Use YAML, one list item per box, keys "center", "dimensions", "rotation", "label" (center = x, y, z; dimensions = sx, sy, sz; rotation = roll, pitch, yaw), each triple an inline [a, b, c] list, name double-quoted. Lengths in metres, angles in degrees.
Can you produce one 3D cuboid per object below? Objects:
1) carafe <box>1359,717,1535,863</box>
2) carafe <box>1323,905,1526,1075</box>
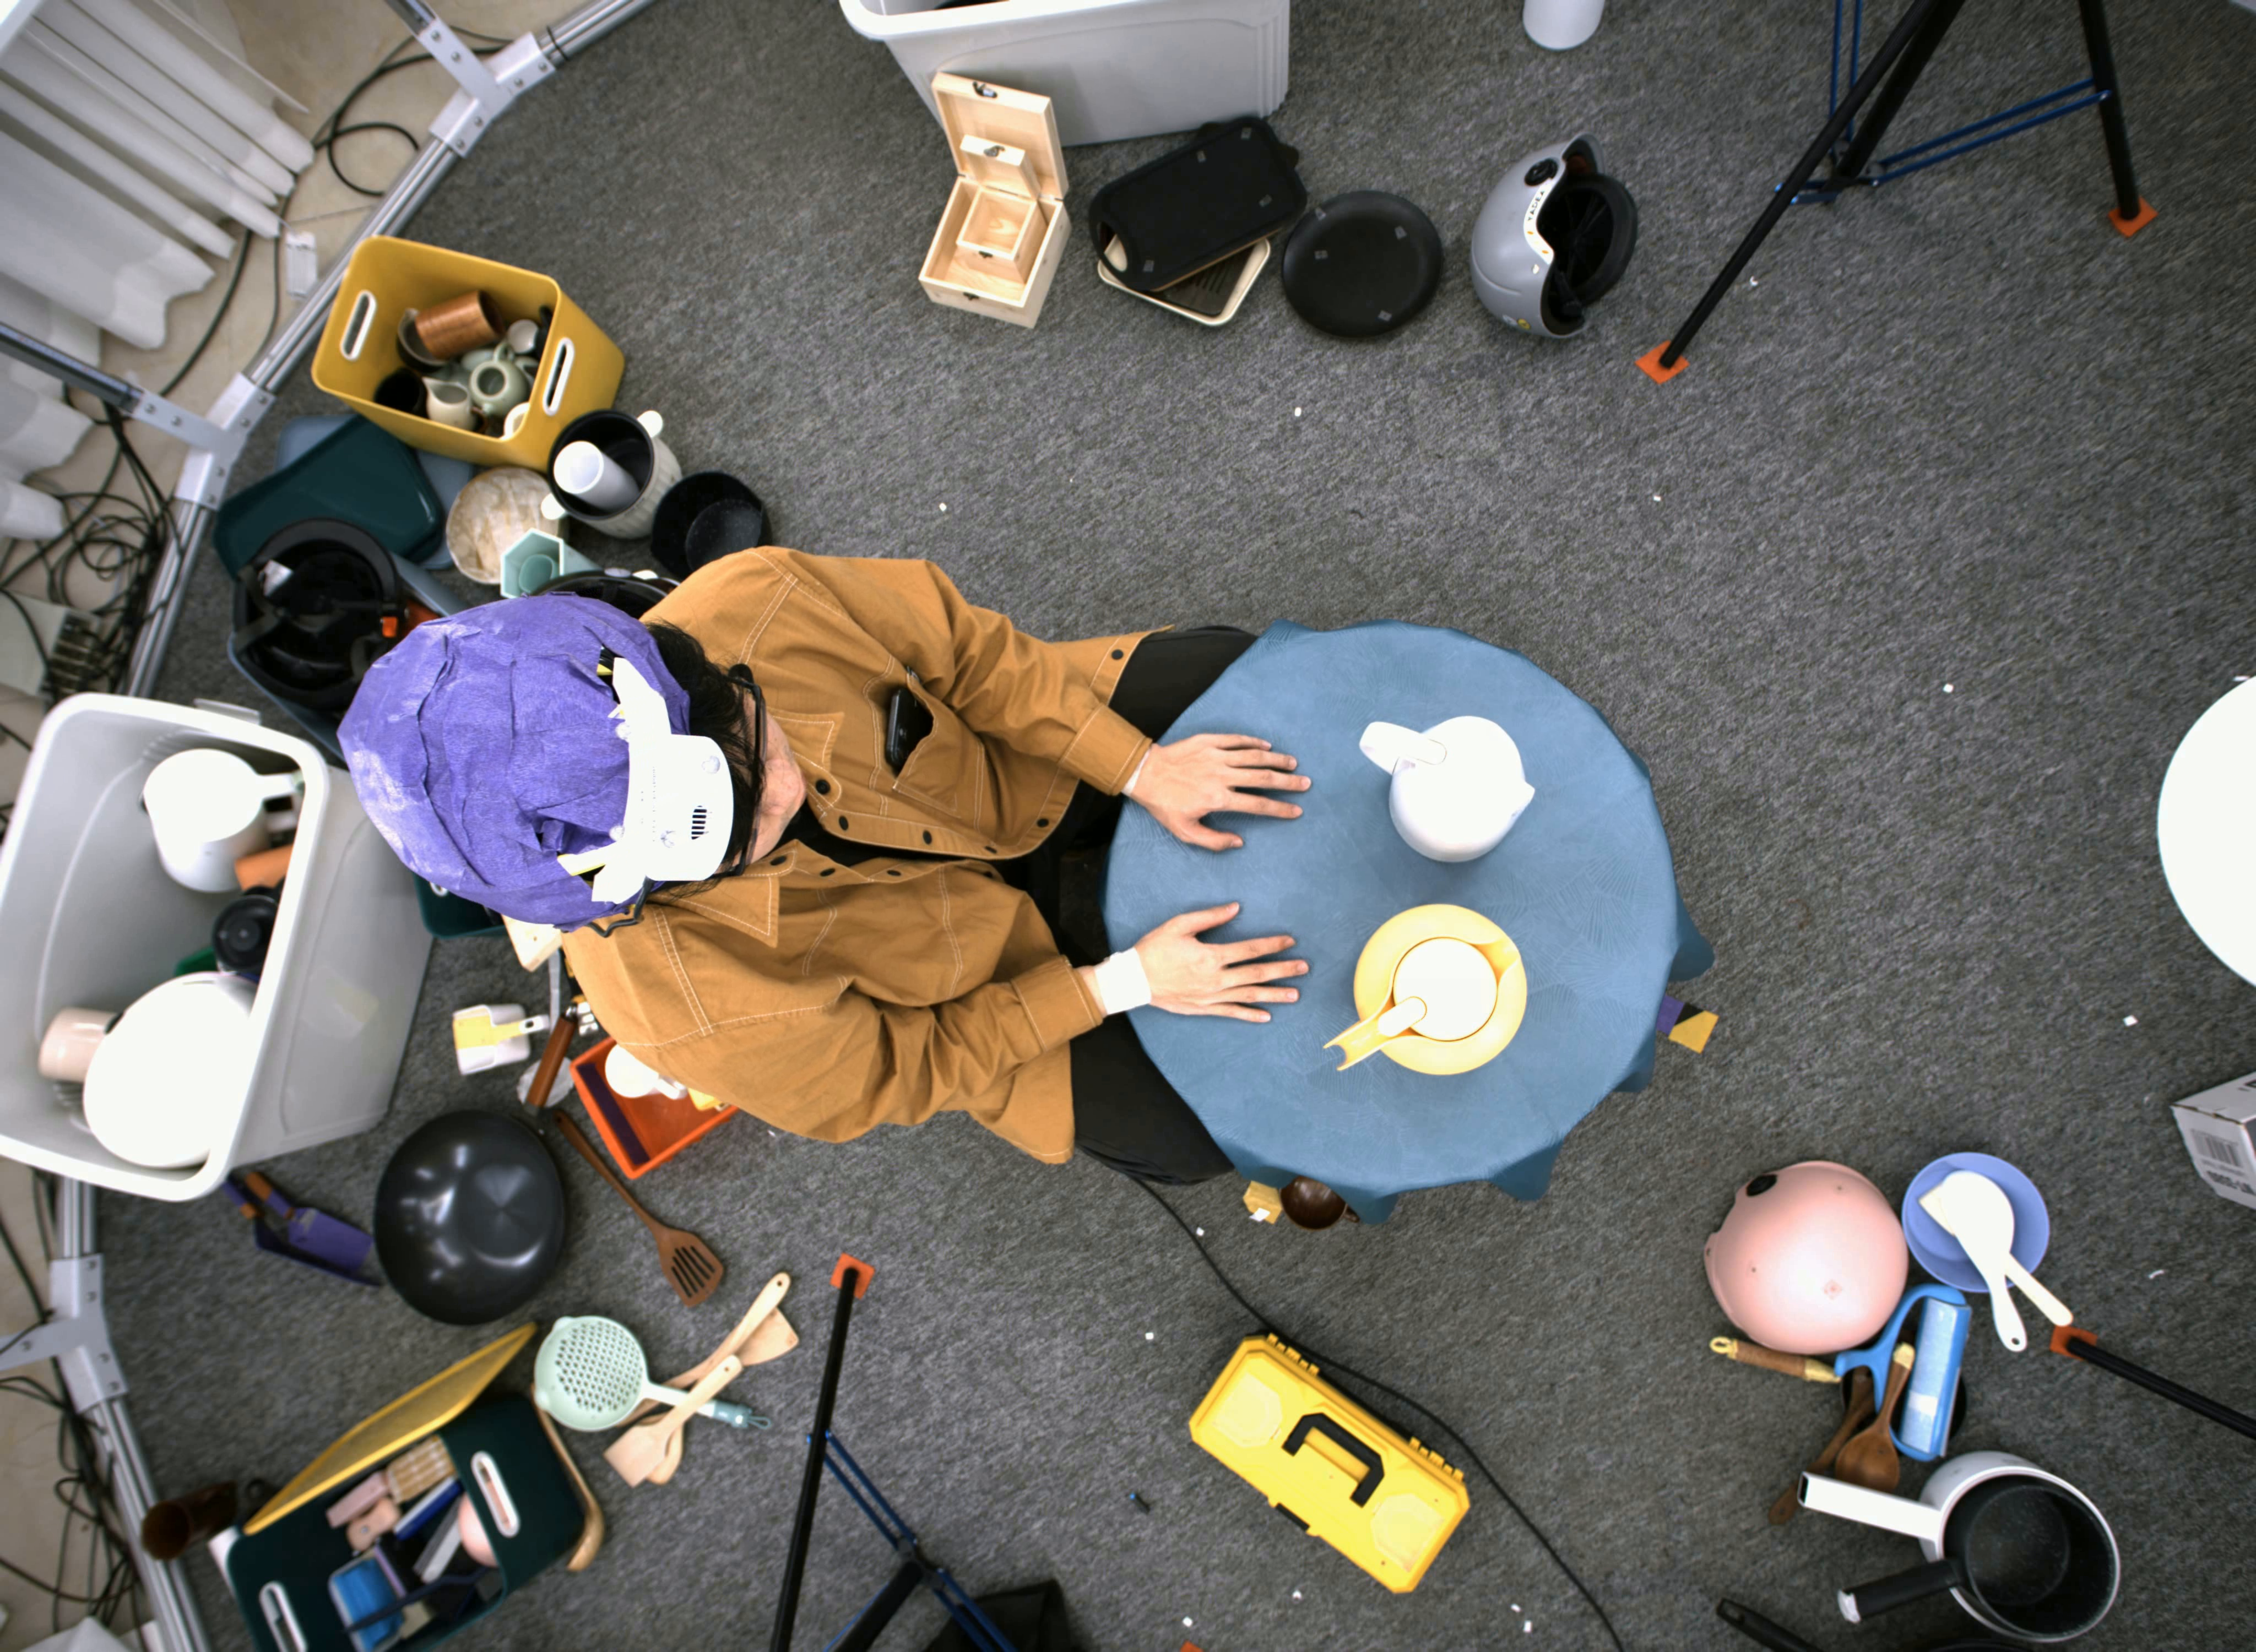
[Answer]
- center: [0.304, -0.048, 1.334]
  dimensions: [0.167, 0.249, 0.132]
  rotation: [26, 90, 12]
  label: "carafe"
- center: [0.279, 0.164, 1.323]
  dimensions: [0.203, 0.261, 0.162]
  rotation: [-31, 78, 5]
  label: "carafe"
